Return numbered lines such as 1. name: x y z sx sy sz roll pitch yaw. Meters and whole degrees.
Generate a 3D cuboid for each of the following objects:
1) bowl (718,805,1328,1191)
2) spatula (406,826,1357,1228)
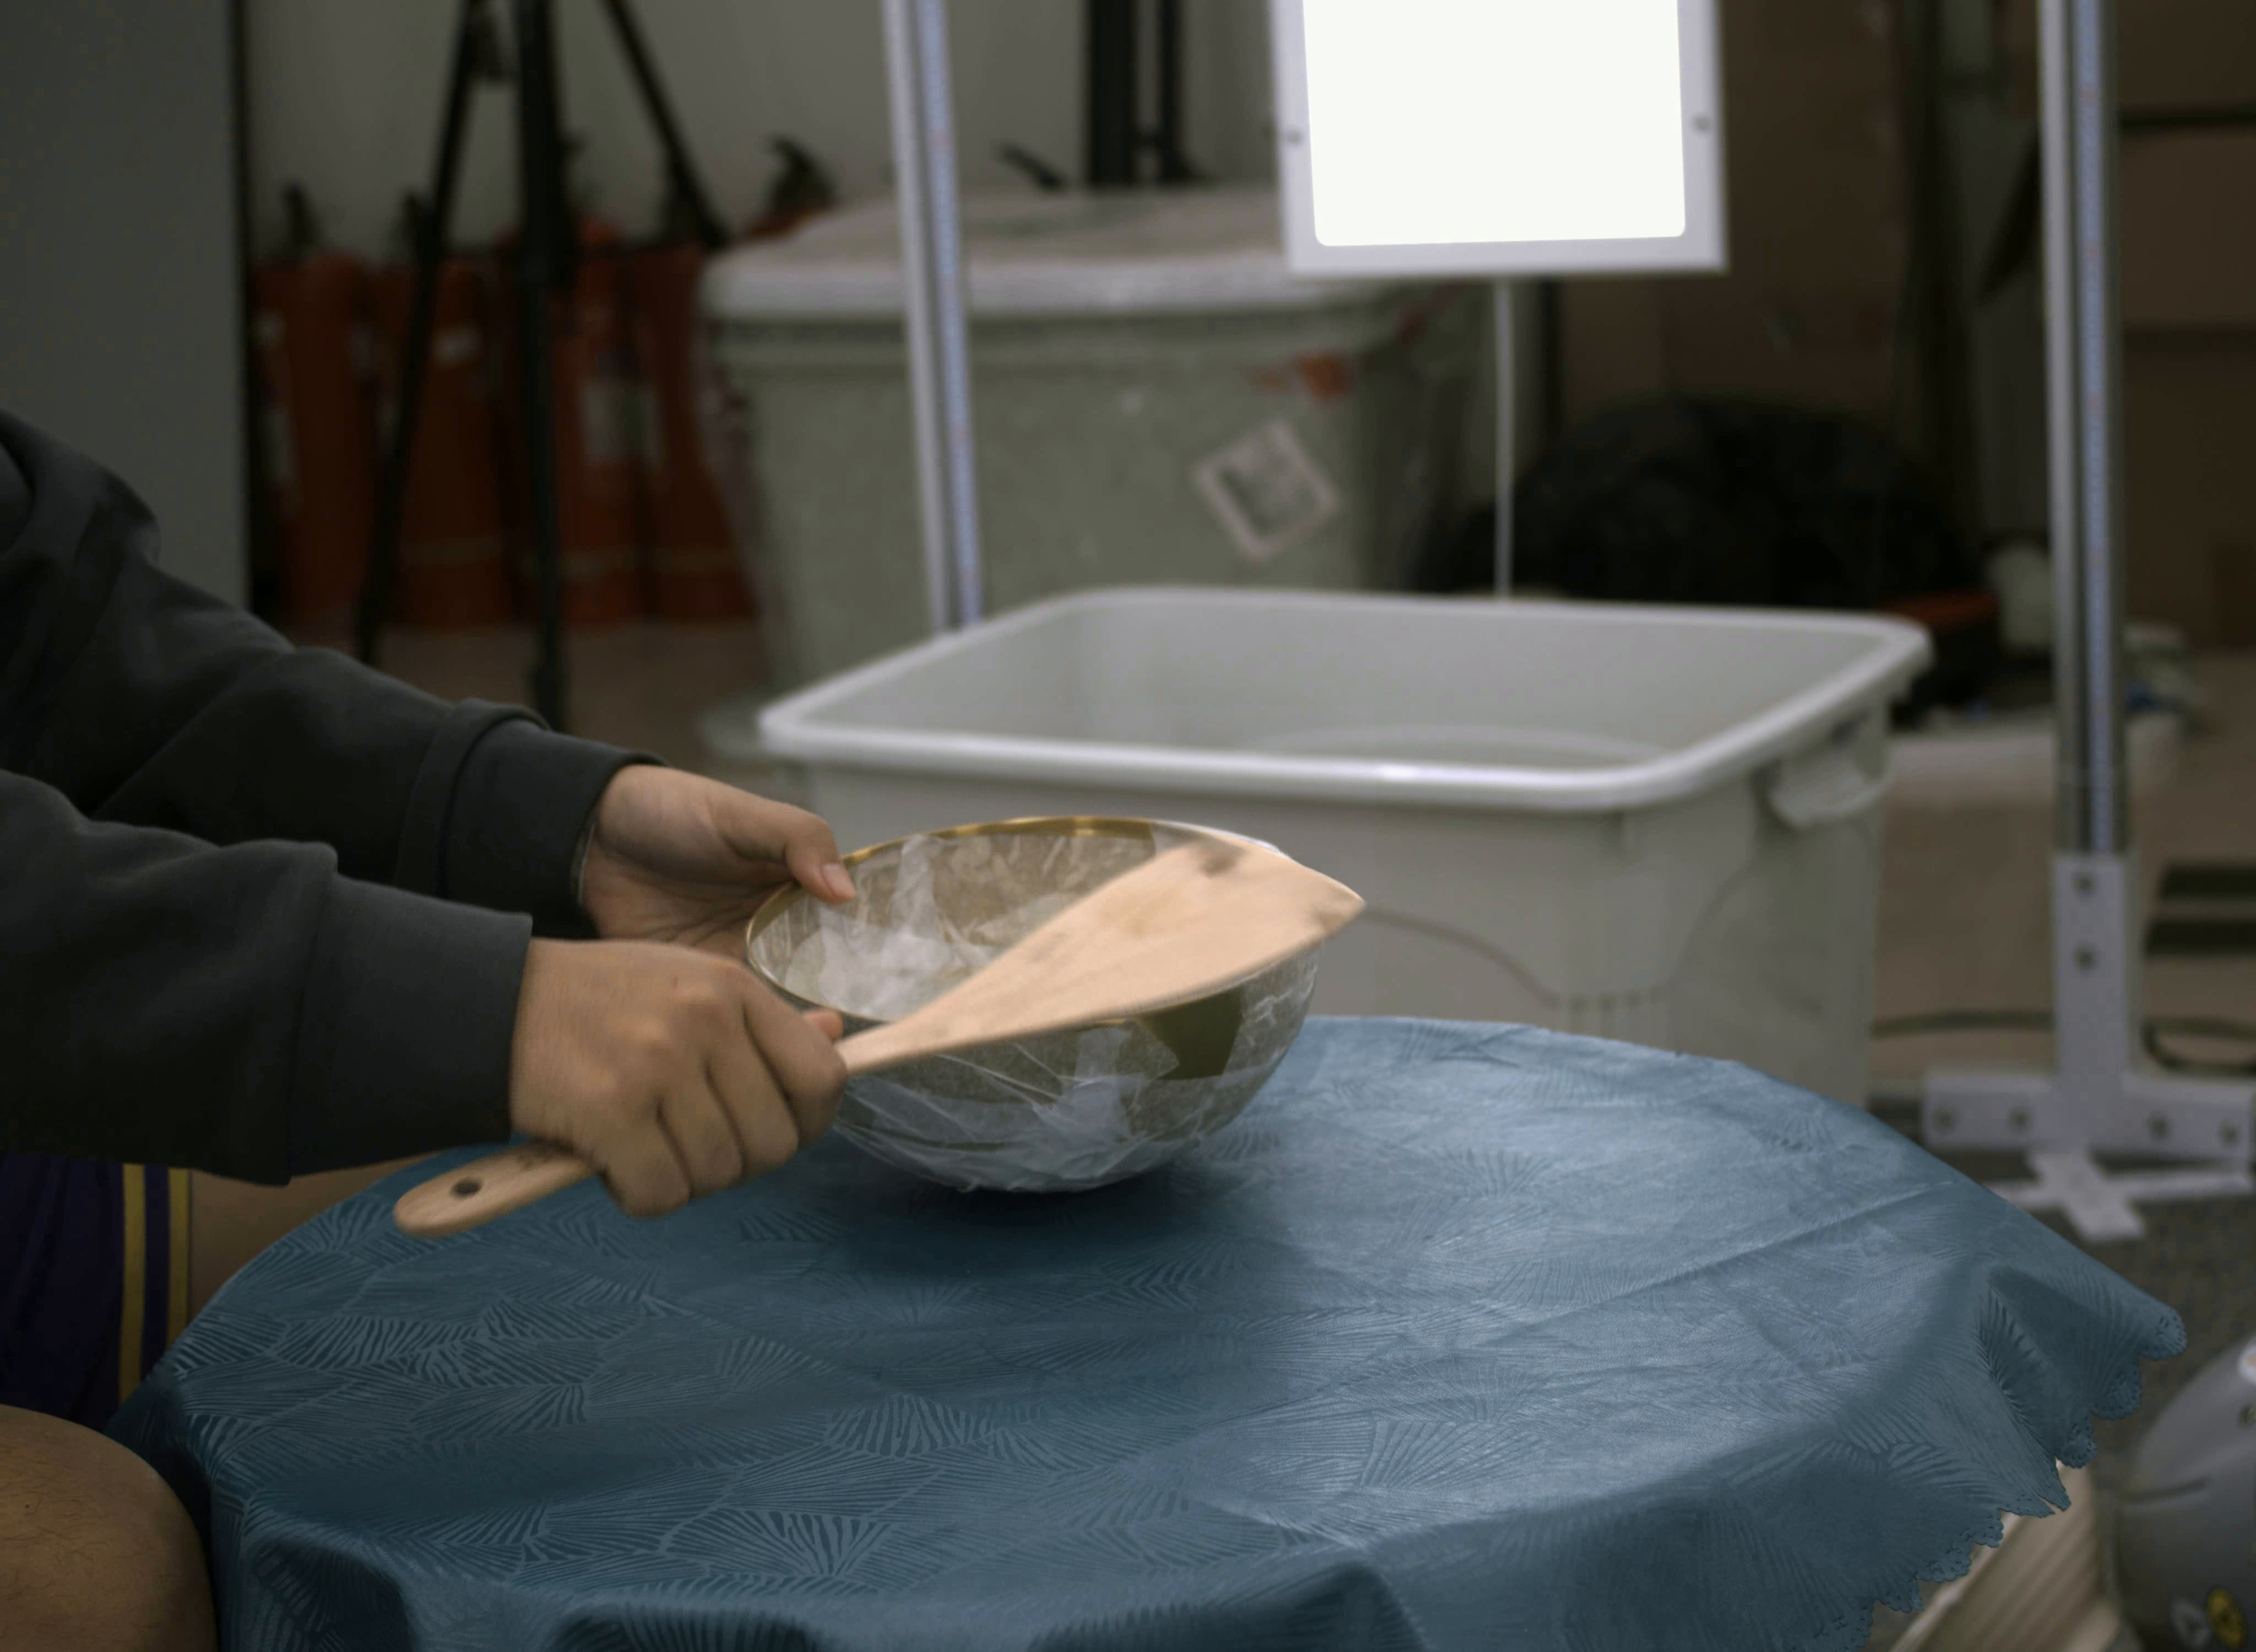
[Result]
1. bowl: -0.034 0.070 1.924 0.214 0.095 0.214 -4 21 0
2. spatula: -0.079 0.062 1.716 0.321 0.016 0.081 -20 31 -26
